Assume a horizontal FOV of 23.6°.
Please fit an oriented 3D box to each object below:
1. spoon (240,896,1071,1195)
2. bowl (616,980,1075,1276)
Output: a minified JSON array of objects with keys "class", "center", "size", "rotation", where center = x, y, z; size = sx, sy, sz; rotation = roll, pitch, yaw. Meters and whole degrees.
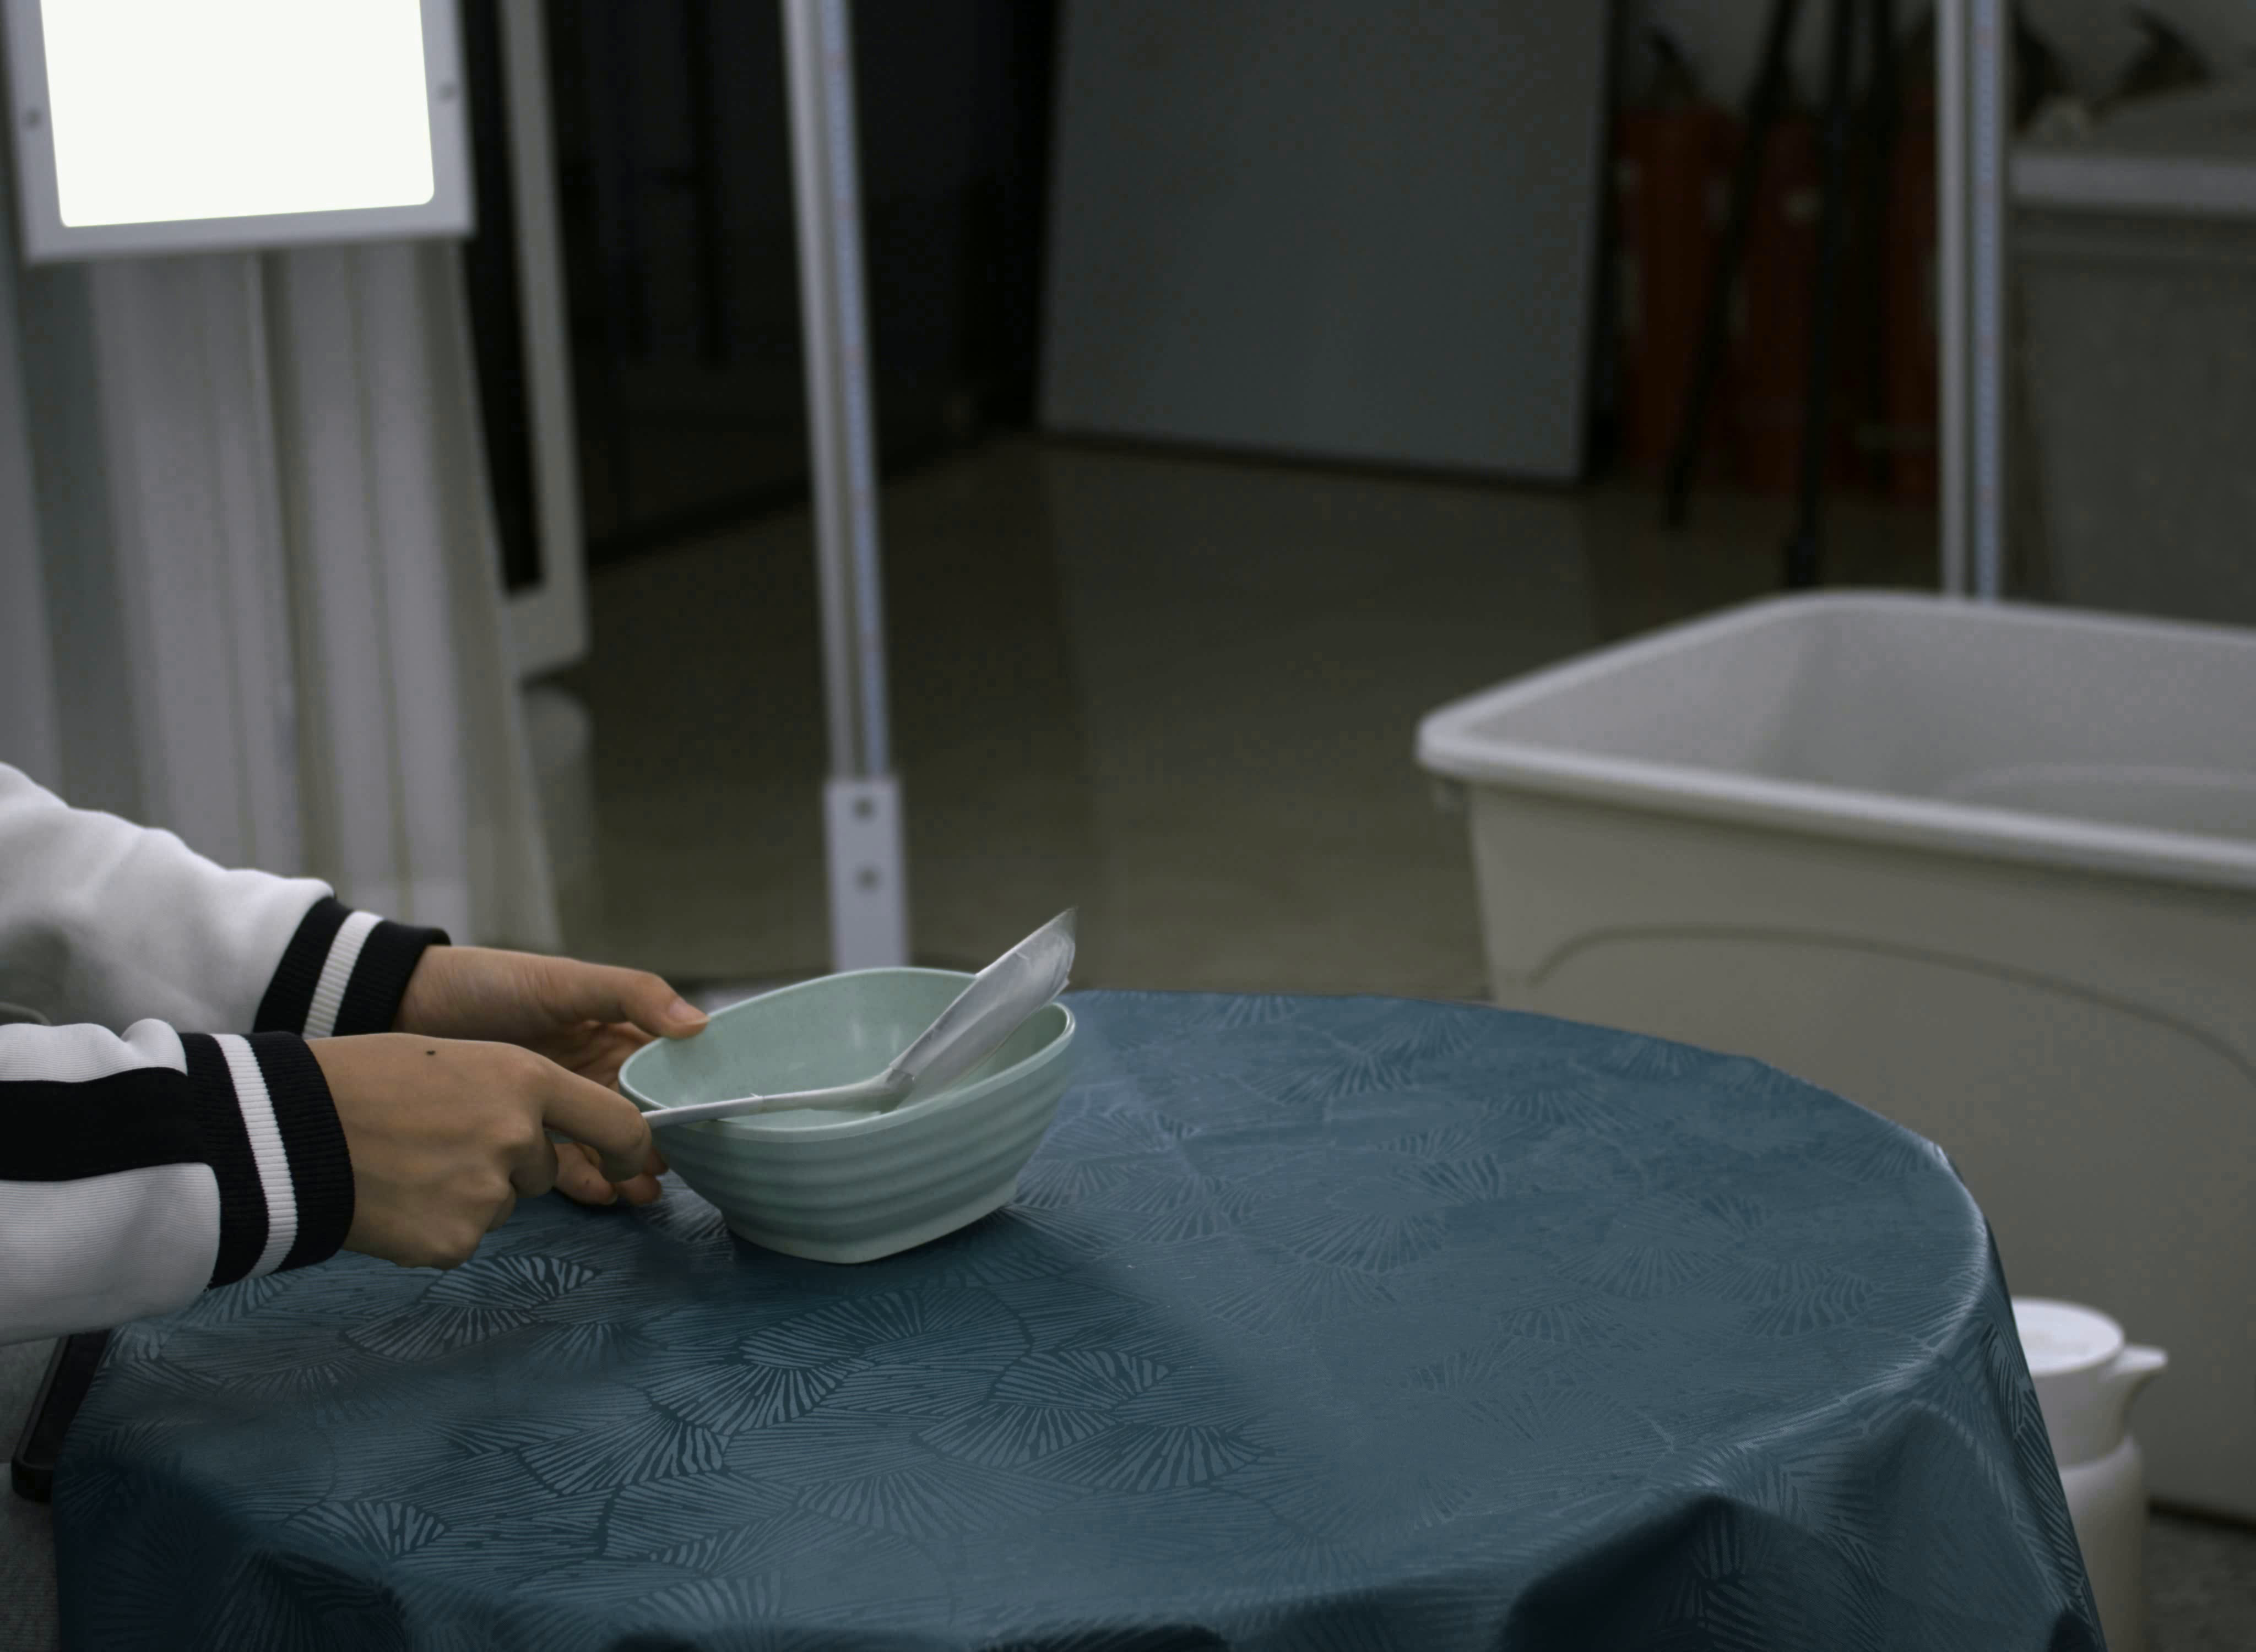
[{"class":"spoon","center":[-0.145,0.071,1.701],"size":[0.272,0.060,0.101],"rotation":[-7,-24,-14]},{"class":"bowl","center":[-0.088,0.101,1.752],"size":[0.149,0.059,0.152],"rotation":[-8,16,1]}]
